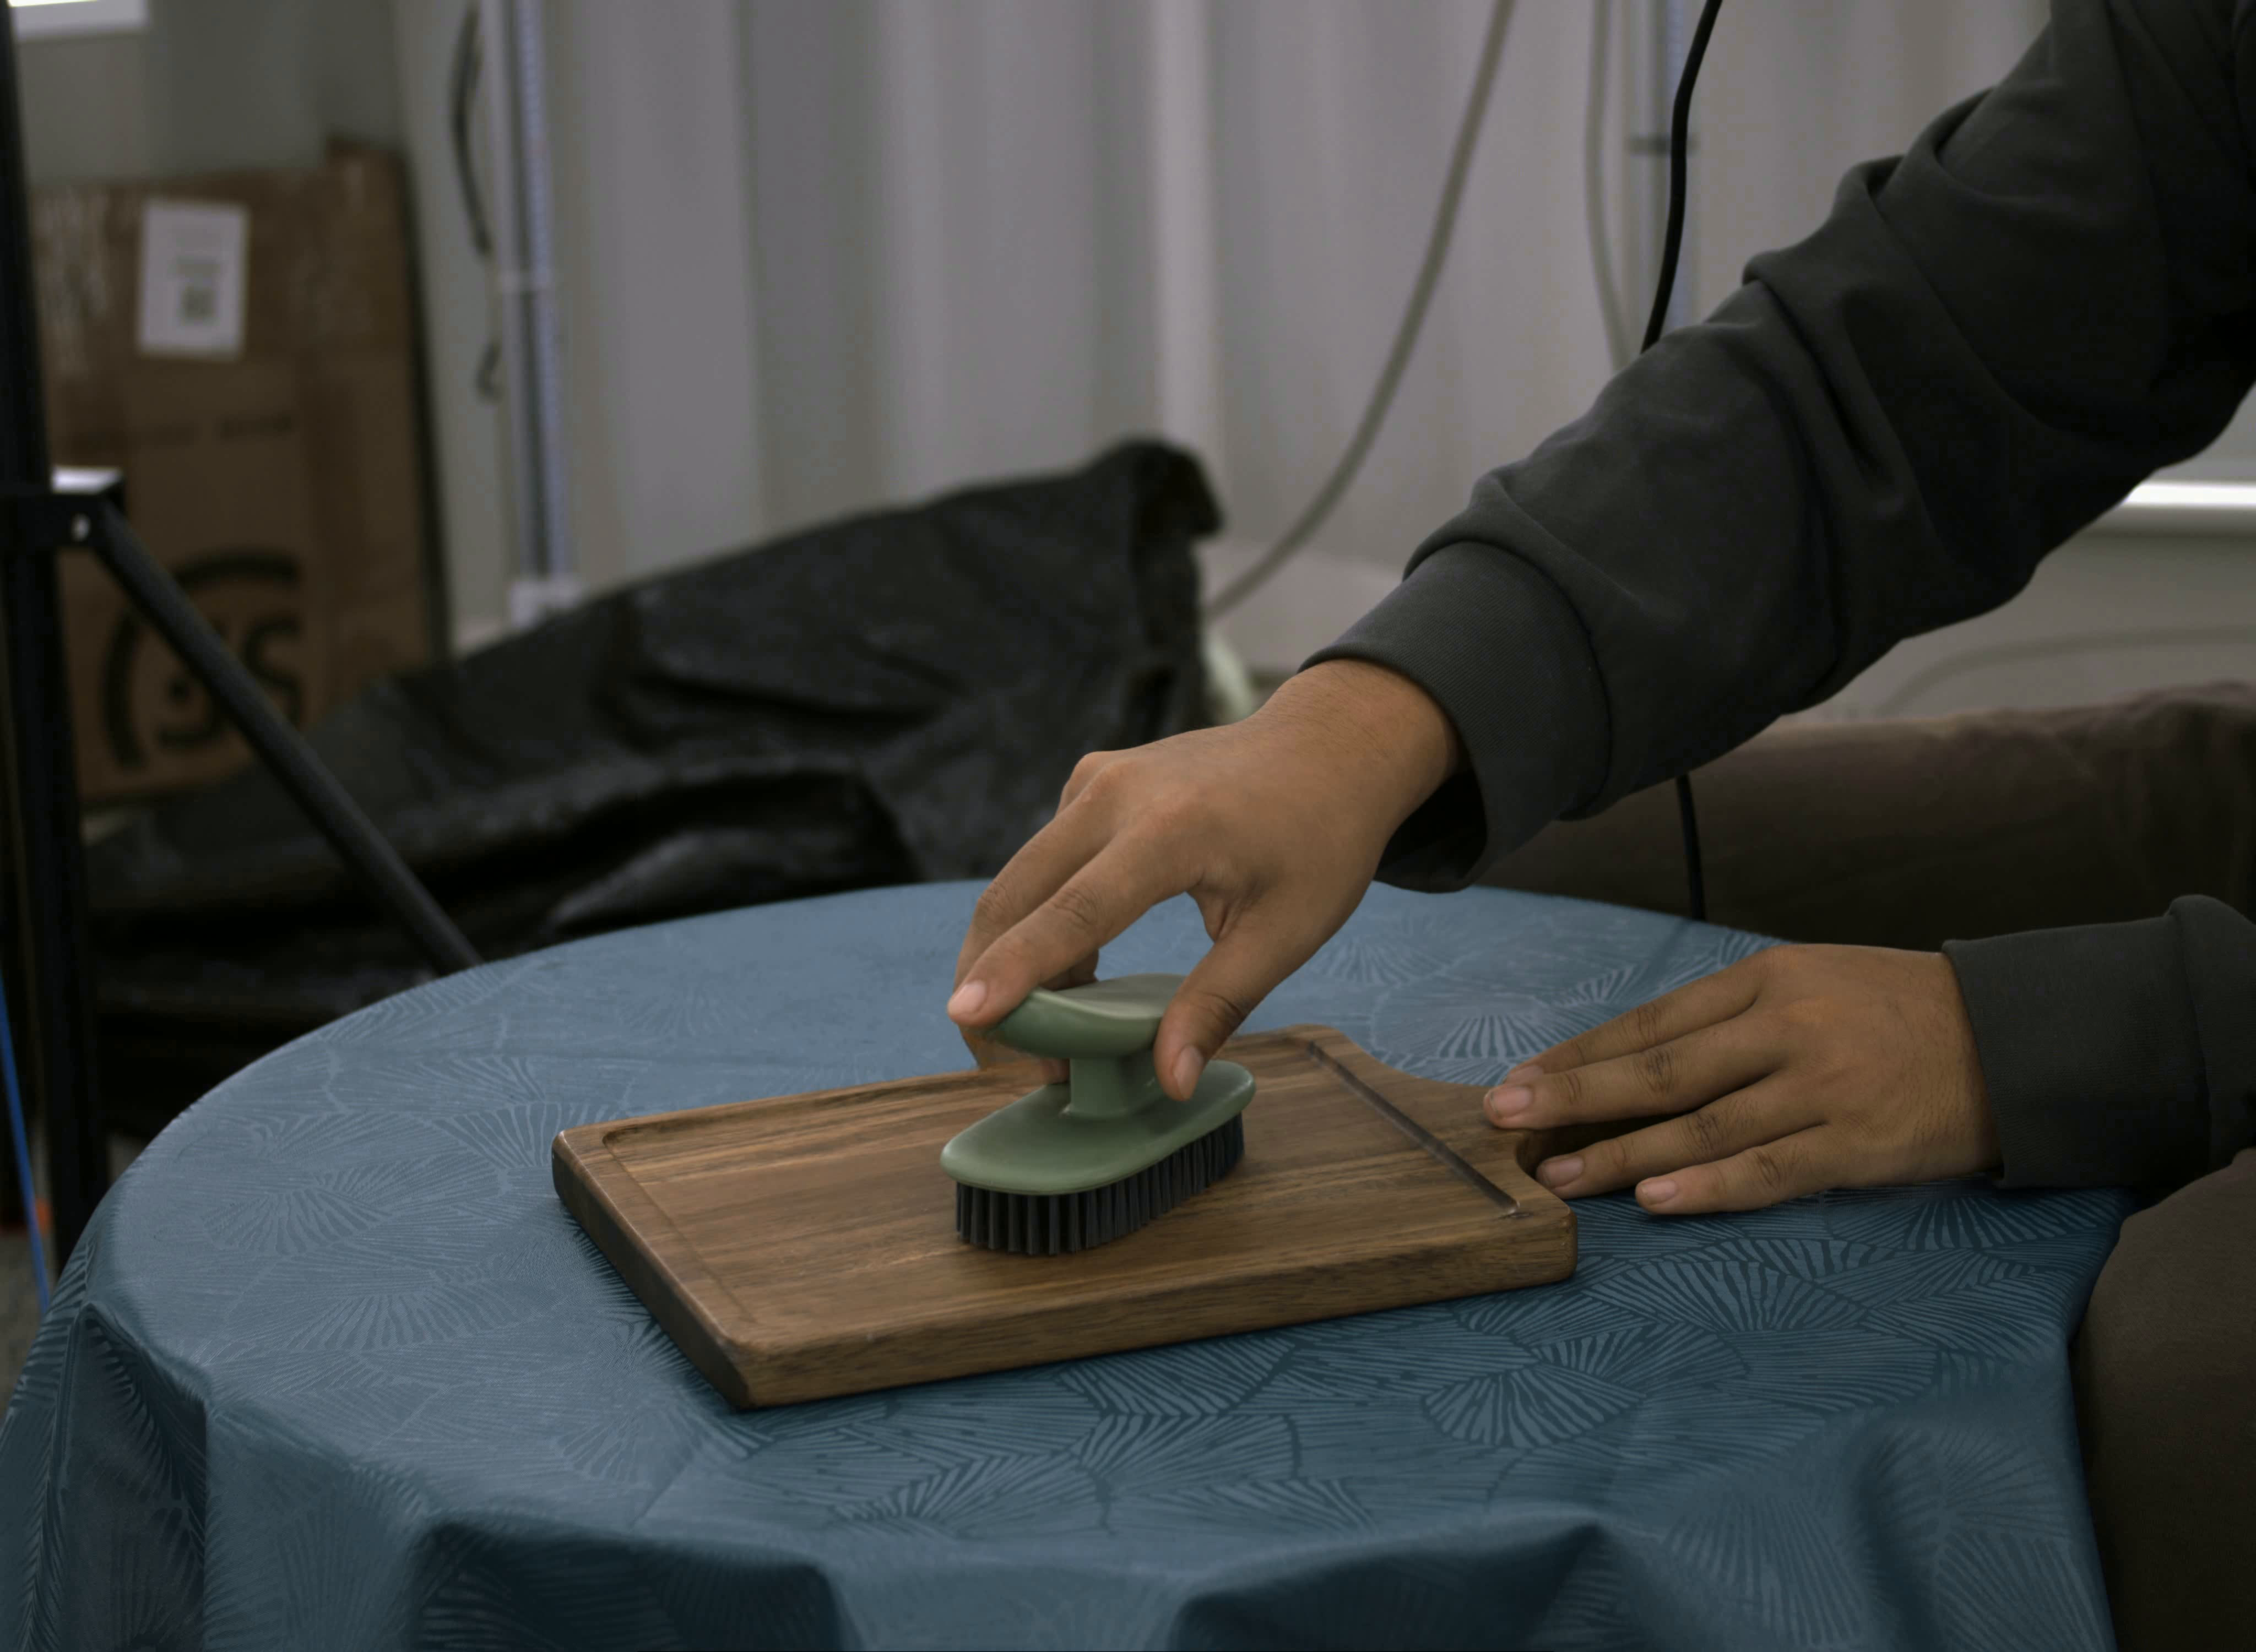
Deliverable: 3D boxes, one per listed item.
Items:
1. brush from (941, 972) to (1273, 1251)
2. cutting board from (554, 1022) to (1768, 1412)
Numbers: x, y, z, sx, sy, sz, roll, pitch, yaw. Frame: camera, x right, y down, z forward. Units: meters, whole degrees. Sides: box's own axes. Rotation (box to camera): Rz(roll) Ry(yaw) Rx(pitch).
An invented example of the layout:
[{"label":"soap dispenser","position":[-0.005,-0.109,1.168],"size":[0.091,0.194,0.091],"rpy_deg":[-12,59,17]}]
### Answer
[{"label":"brush","position":[-0.006,0.080,1.505],"size":[0.061,0.076,0.120],"rpy_deg":[12,4,33]},{"label":"cutting board","position":[0.026,0.102,1.535],"size":[0.346,0.023,0.204],"rpy_deg":[-7,17,-17]}]
